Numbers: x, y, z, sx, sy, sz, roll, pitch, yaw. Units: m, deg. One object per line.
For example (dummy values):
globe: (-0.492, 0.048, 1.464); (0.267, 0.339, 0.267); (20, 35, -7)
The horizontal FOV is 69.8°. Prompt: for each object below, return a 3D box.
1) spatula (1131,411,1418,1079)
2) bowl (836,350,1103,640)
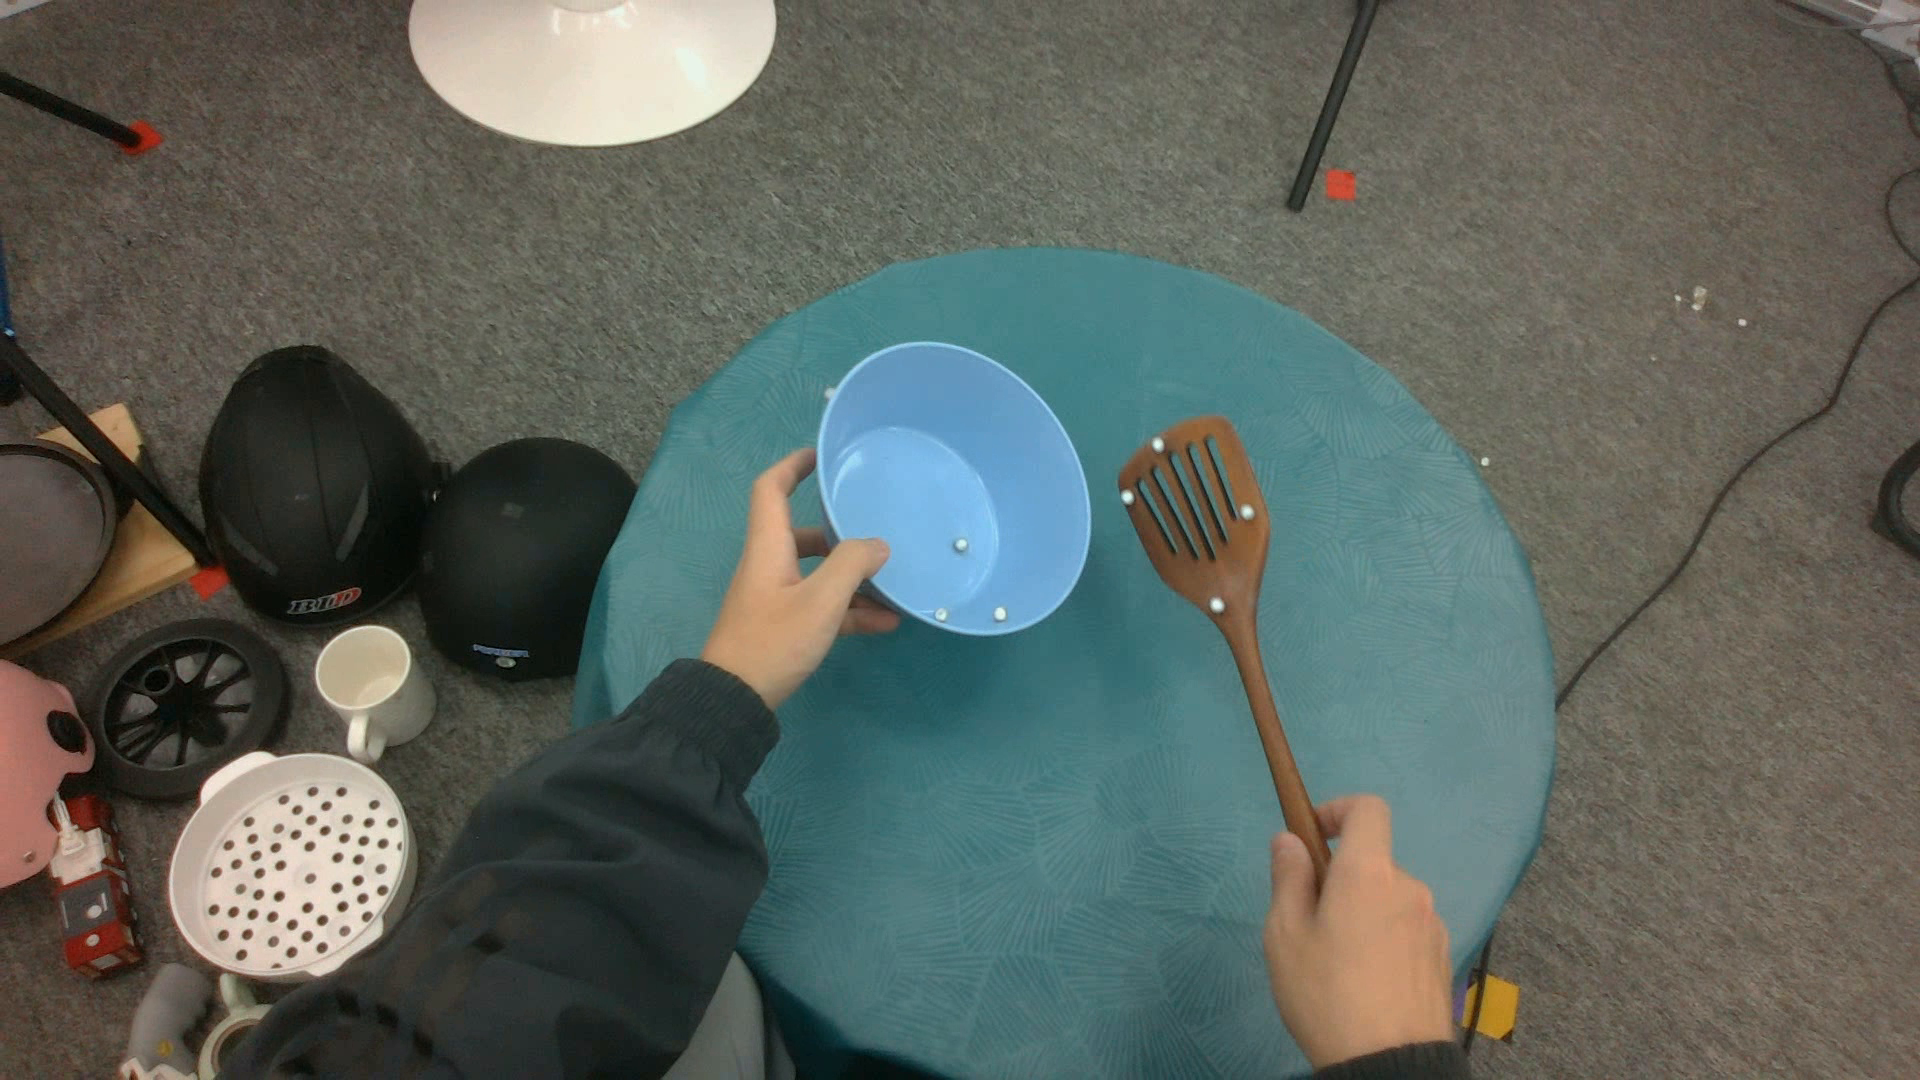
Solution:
spatula: (0.173, 0.099, 0.743); (0.024, 0.085, 0.388); (21, 46, -43)
bowl: (-0.005, -0.019, 0.810); (0.176, 0.070, 0.176); (12, 65, -27)
